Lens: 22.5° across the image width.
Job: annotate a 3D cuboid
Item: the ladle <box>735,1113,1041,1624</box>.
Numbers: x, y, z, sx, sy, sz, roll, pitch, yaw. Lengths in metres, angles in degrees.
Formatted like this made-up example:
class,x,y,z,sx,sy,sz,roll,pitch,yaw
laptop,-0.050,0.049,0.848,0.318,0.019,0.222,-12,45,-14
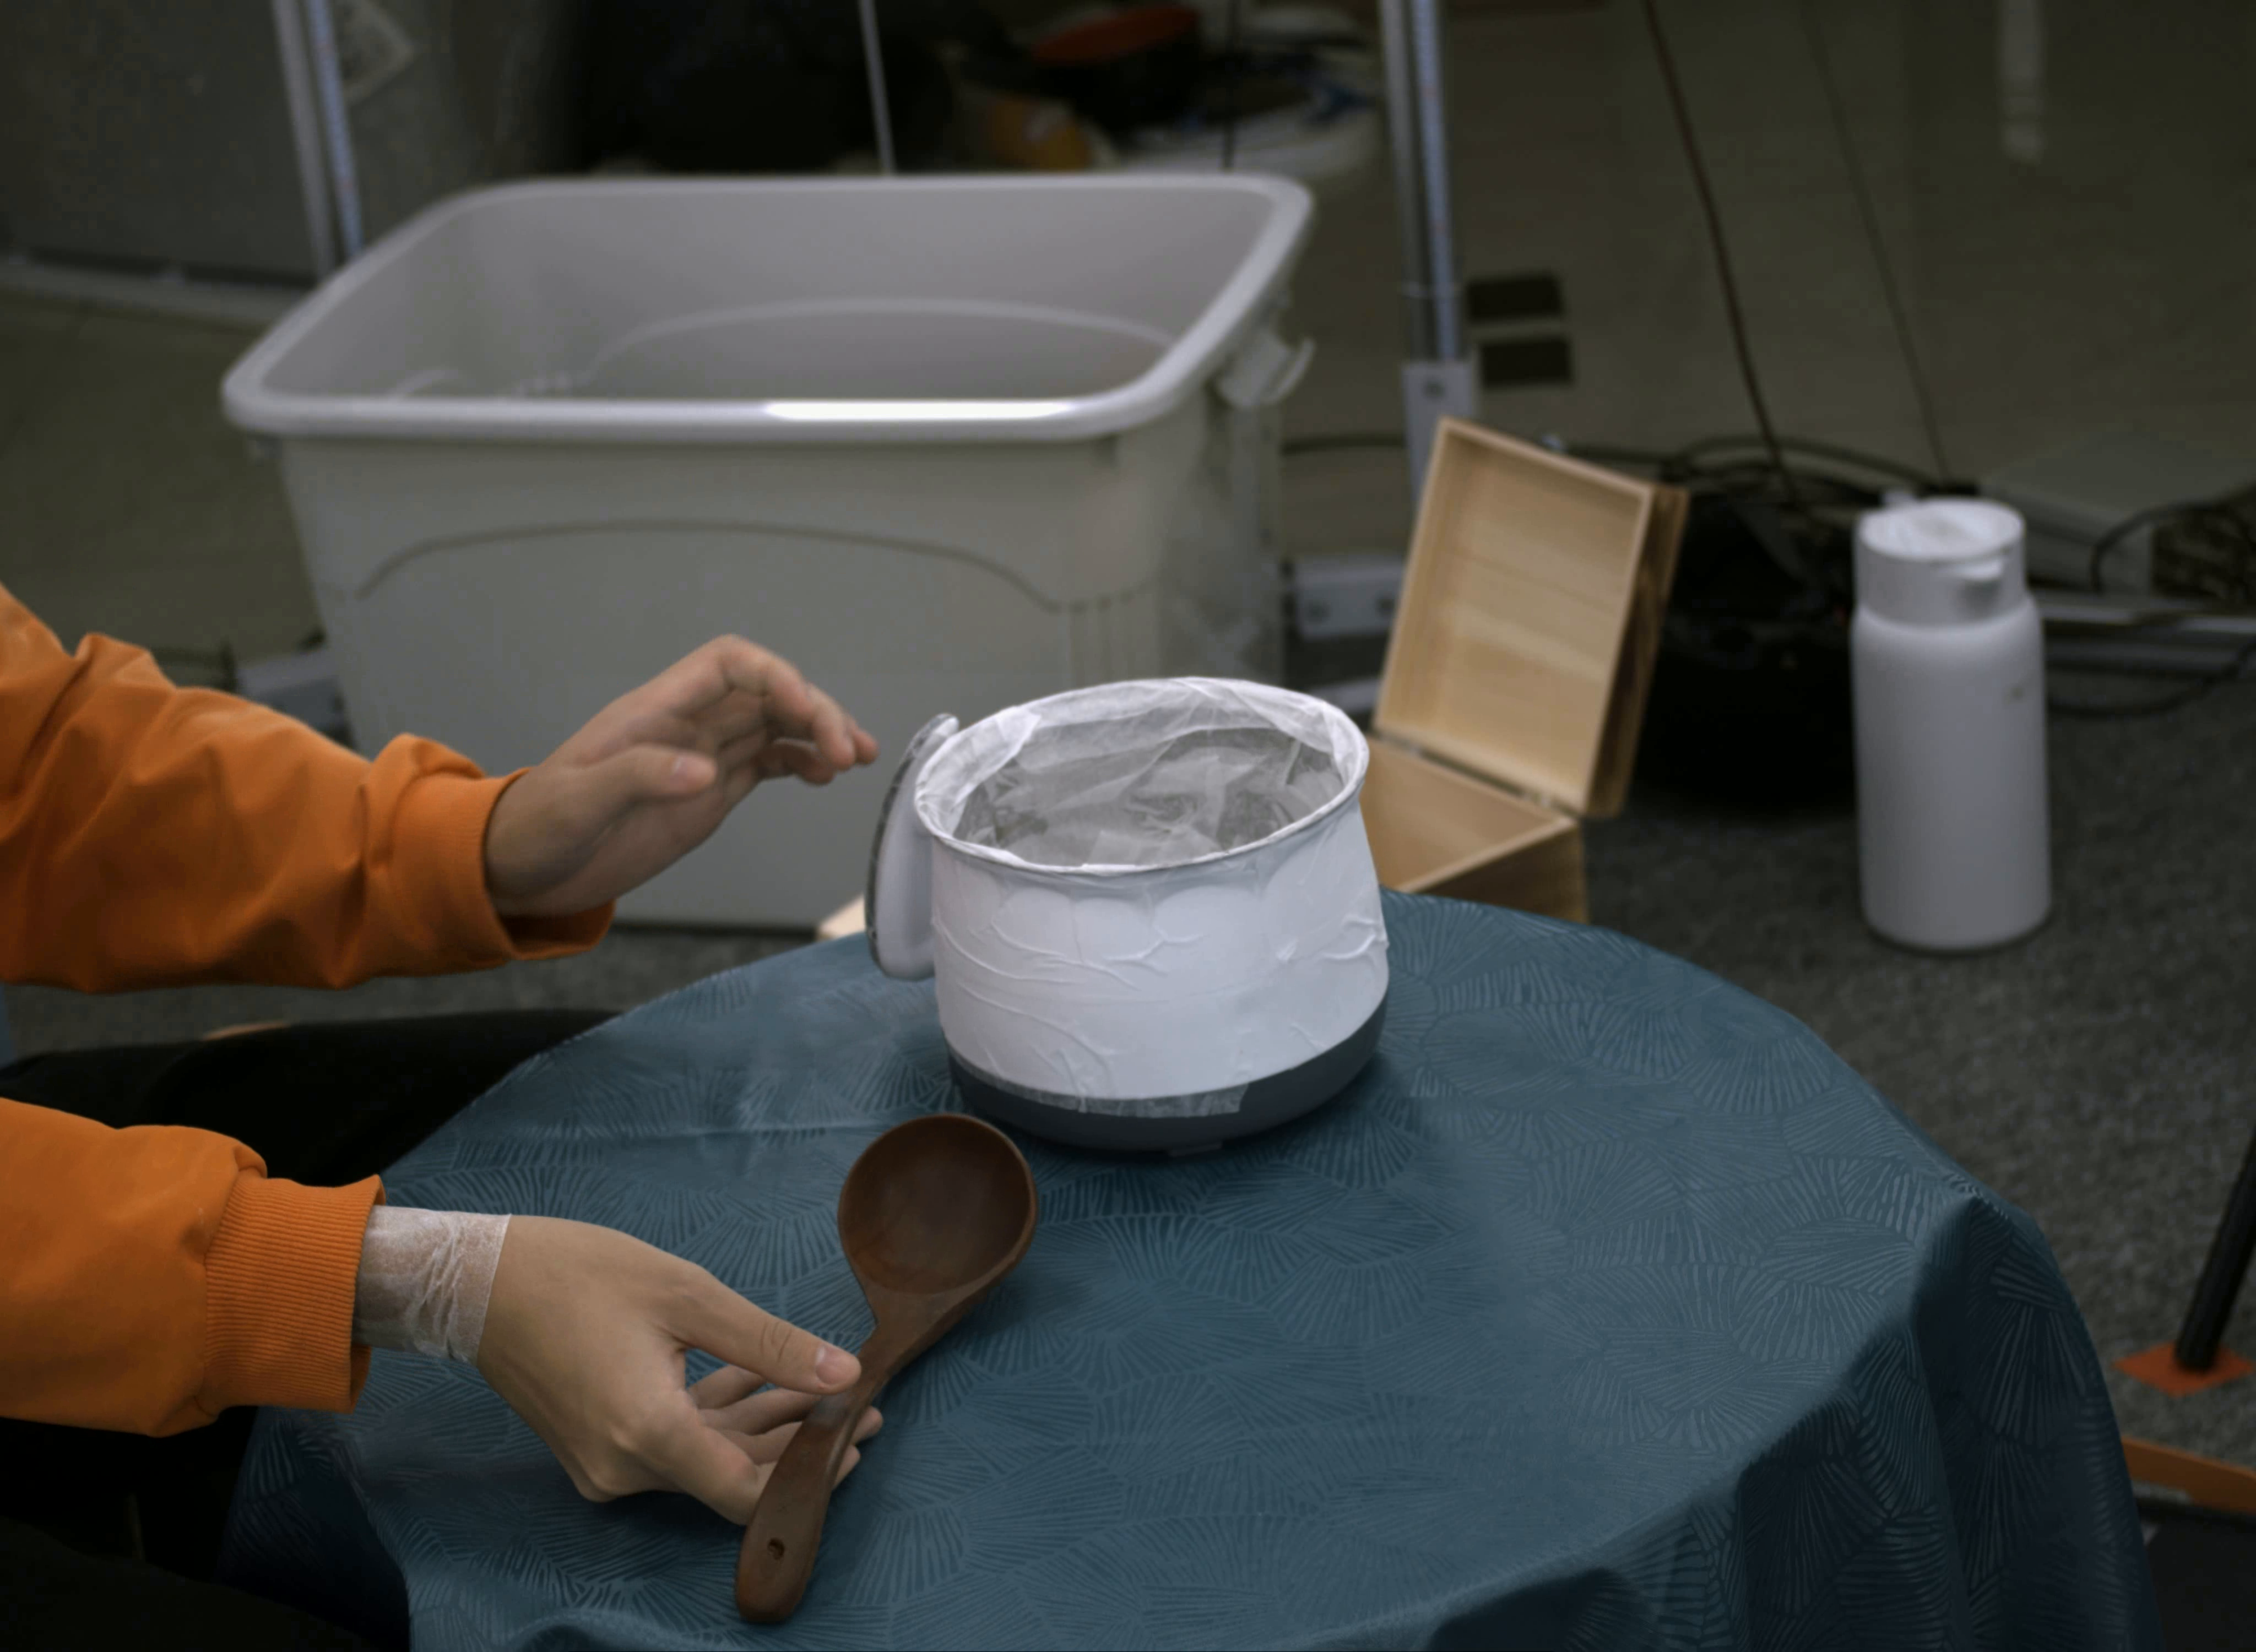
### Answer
class,x,y,z,sx,sy,sz,roll,pitch,yaw
ladle,-0.094,0.185,1.995,0.076,0.066,0.256,-3,25,18

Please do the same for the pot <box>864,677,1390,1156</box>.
class,x,y,z,sx,sy,sz,roll,pitch,yaw
pot,-0.011,0.031,2.216,0.232,0.139,0.177,13,31,35
